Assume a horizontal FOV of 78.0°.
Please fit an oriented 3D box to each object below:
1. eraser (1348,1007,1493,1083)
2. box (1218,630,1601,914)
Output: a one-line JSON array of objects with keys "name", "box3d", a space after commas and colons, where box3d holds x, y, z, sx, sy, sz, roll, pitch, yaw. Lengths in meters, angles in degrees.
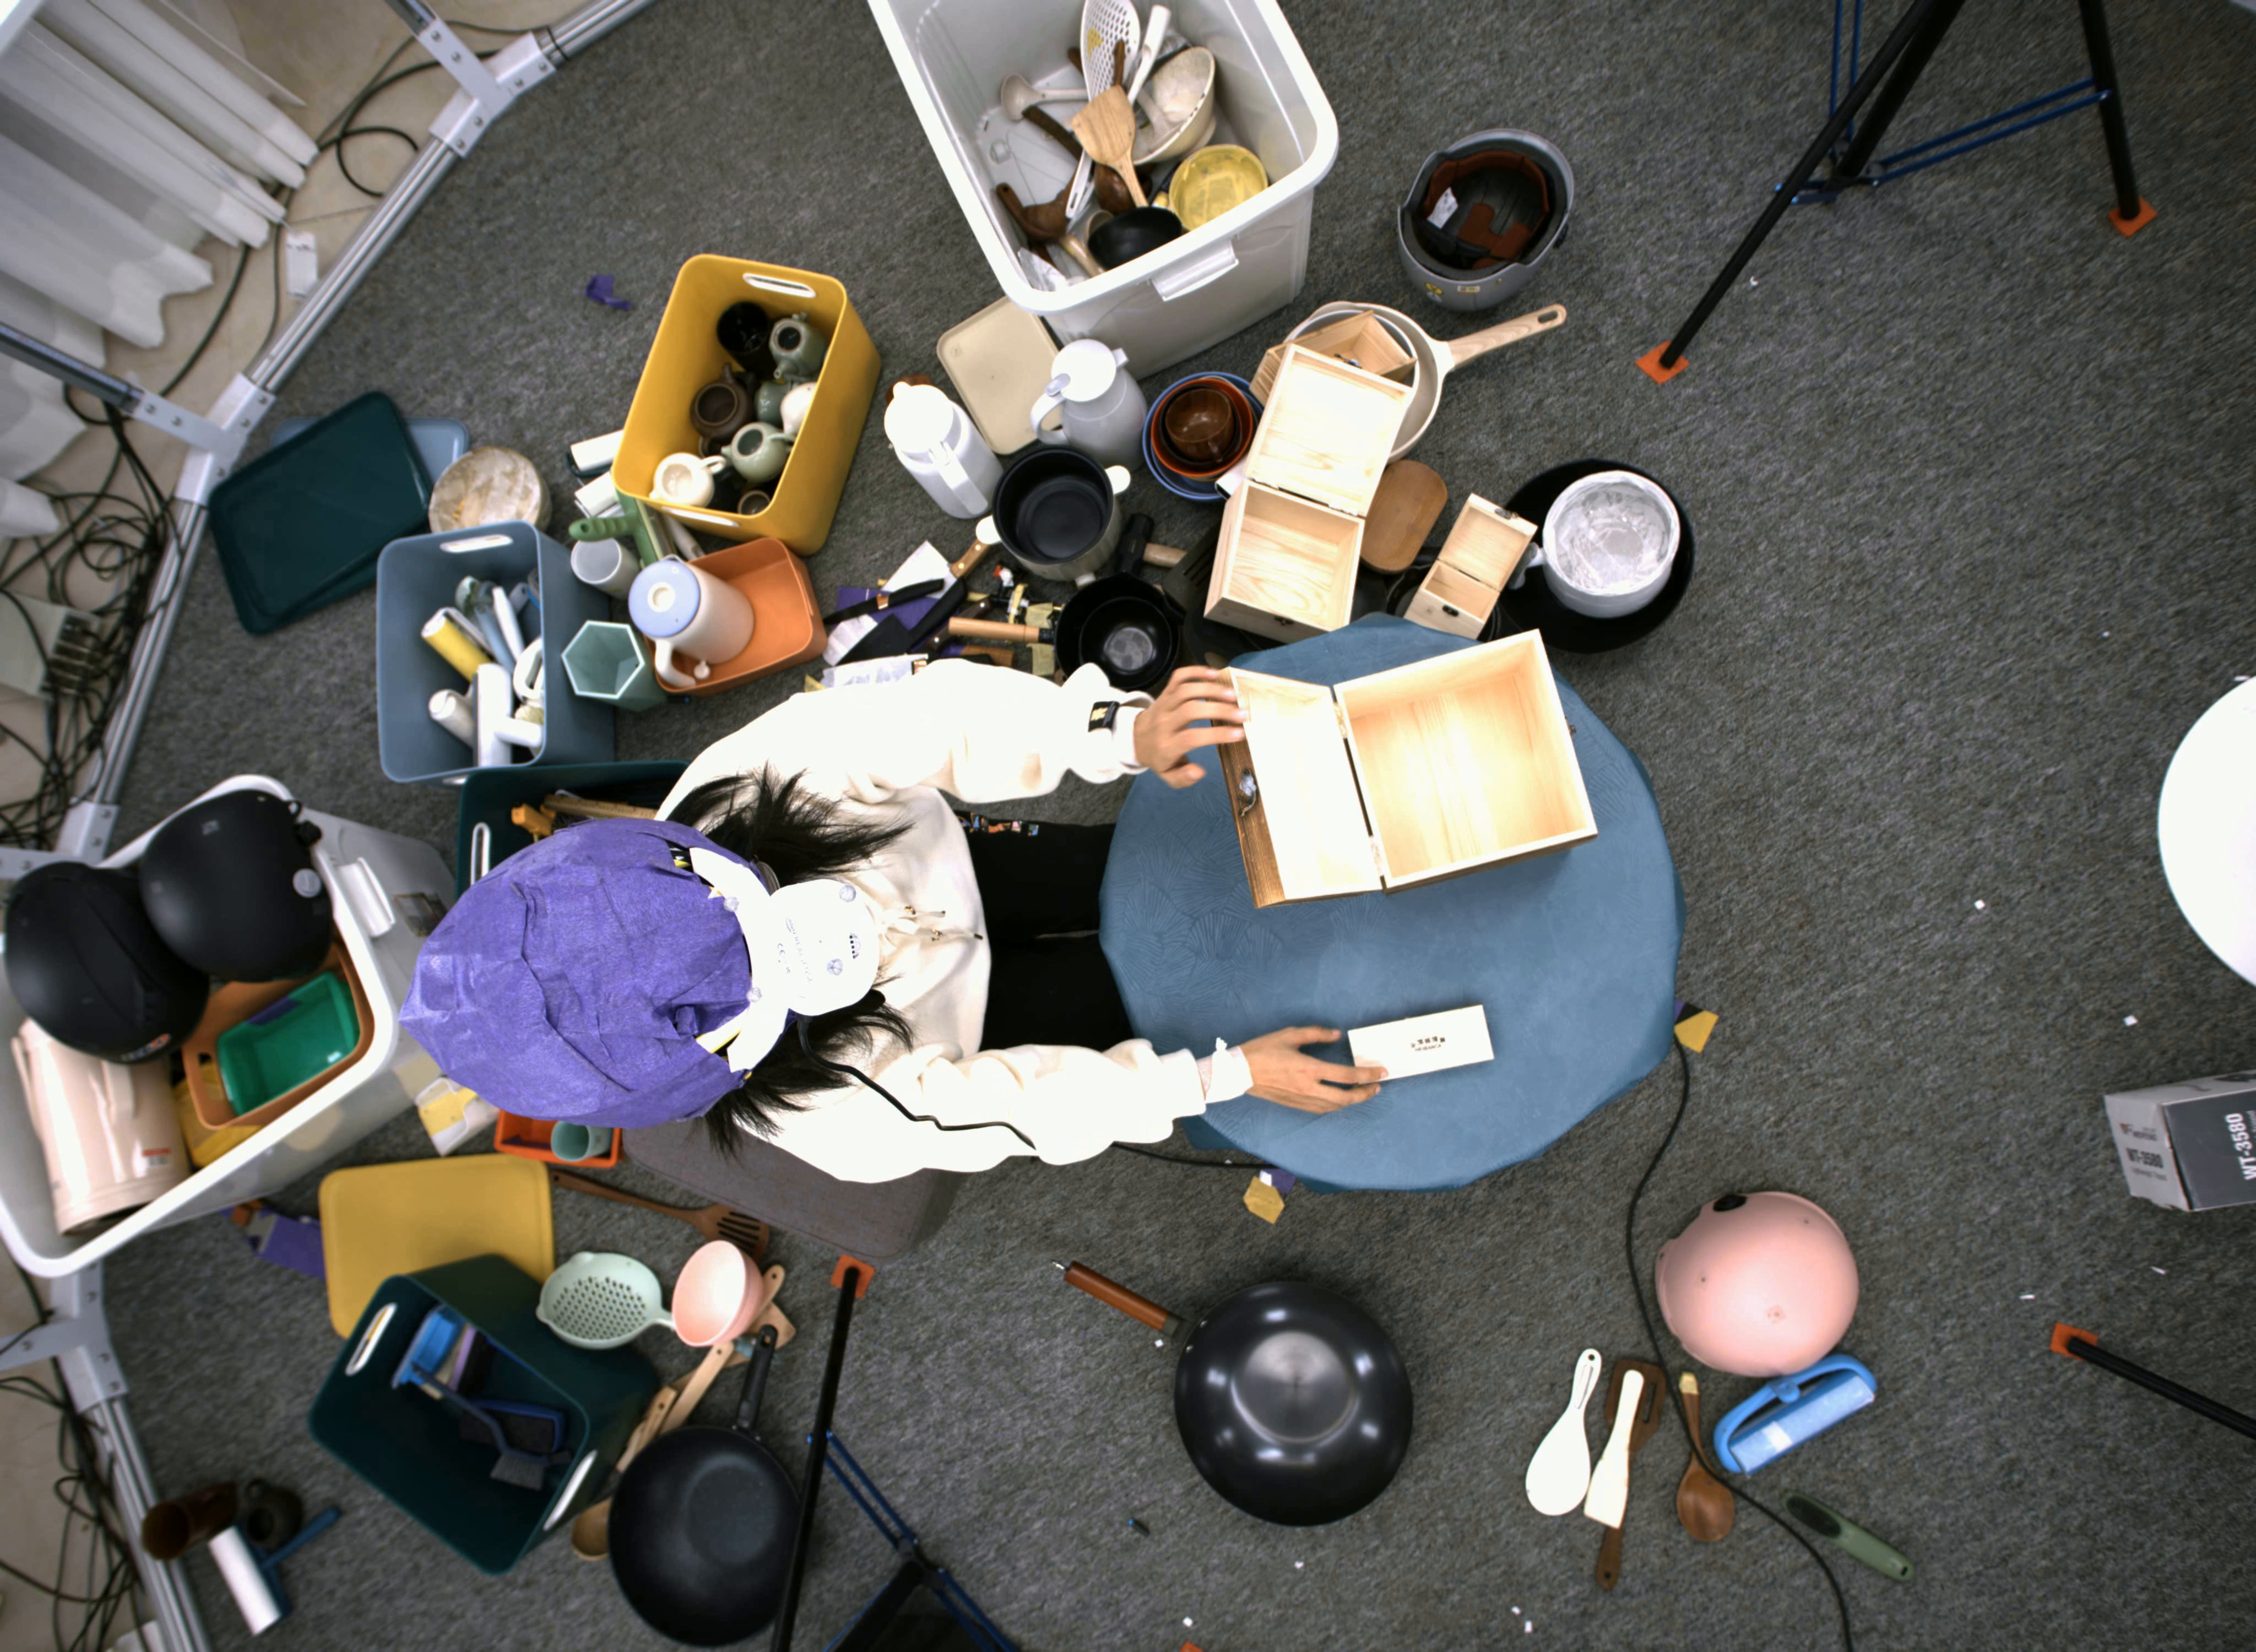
[{"name": "eraser", "box3d": [0.302, 0.224, 1.431, 0.140, 0.029, 0.057, -11, 87, 11]}, {"name": "box", "box3d": [0.264, -0.051, 1.284, 0.324, 0.375, 0.207, -16, 83, 8]}]
